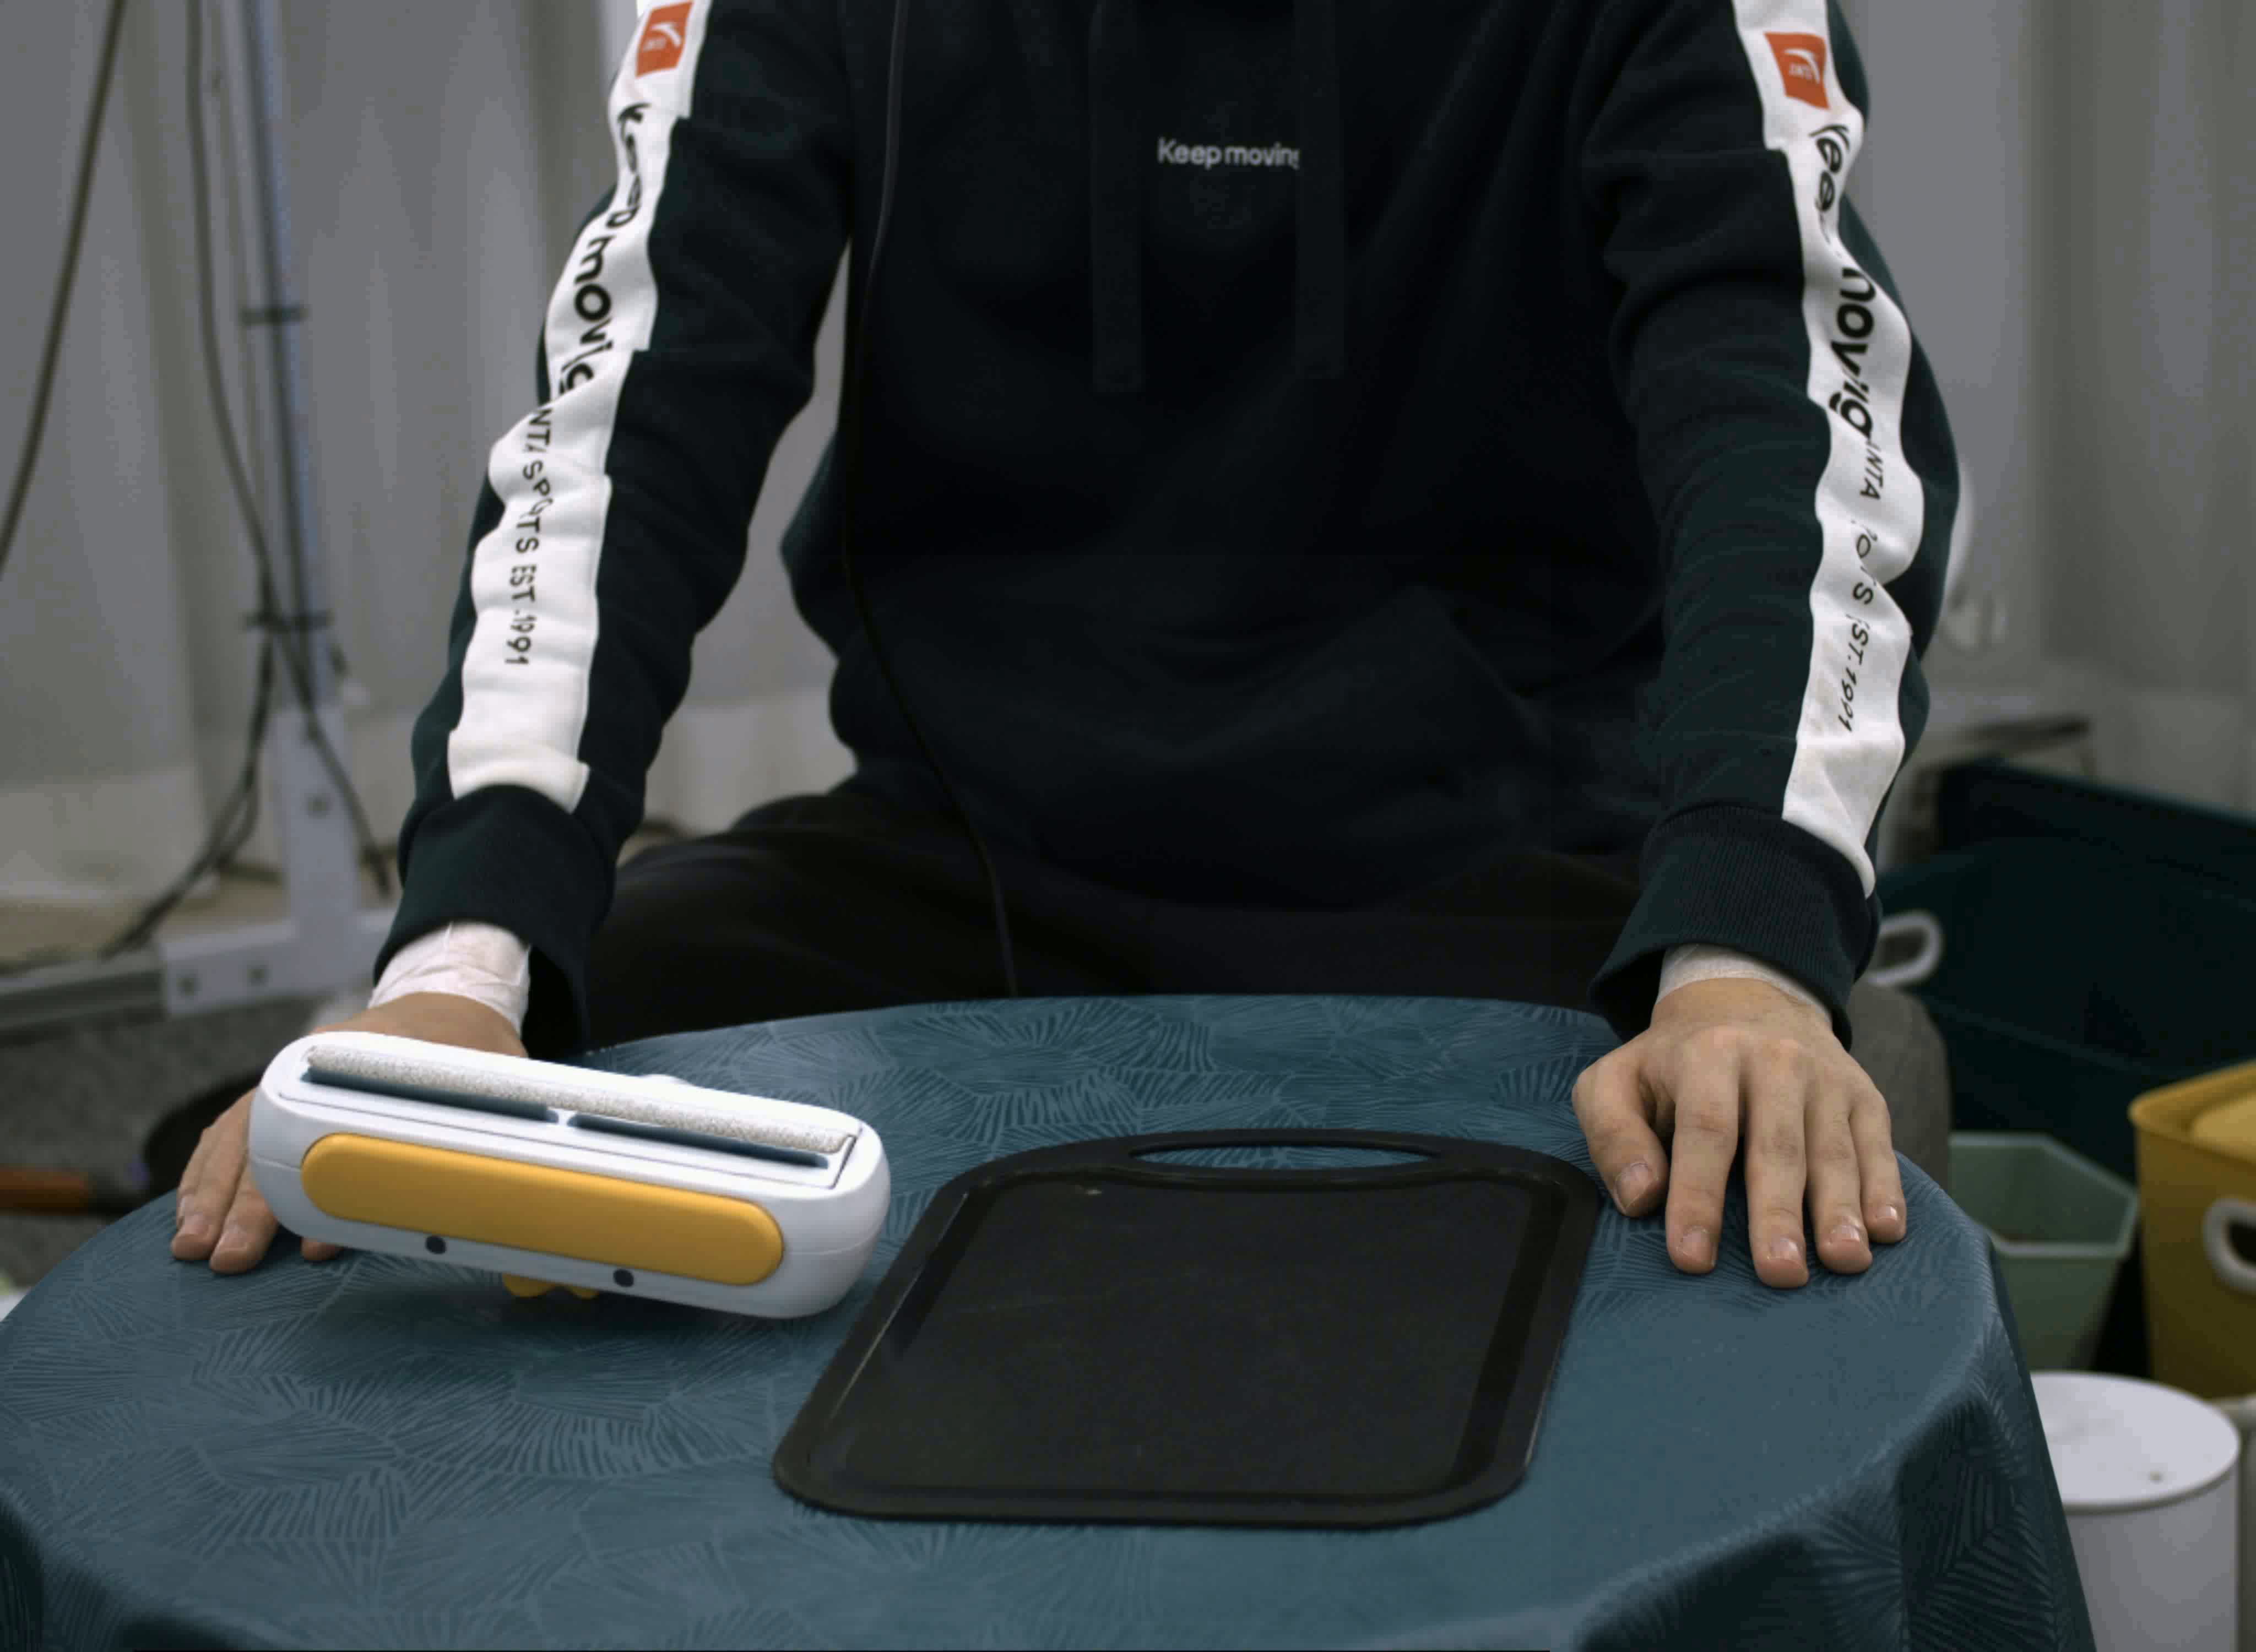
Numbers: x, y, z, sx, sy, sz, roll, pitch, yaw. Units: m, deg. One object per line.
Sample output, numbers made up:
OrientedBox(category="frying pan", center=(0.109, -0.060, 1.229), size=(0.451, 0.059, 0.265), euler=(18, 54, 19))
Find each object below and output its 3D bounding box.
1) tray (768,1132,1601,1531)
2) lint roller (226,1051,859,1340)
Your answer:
OrientedBox(category="tray", center=(0.024, 0.141, 1.601), size=(0.211, 0.010, 0.327), euler=(0, 15, 11))
OrientedBox(category="lint roller", center=(-0.163, 0.115, 1.688), size=(0.193, 0.074, 0.192), euler=(7, 2, 13))
